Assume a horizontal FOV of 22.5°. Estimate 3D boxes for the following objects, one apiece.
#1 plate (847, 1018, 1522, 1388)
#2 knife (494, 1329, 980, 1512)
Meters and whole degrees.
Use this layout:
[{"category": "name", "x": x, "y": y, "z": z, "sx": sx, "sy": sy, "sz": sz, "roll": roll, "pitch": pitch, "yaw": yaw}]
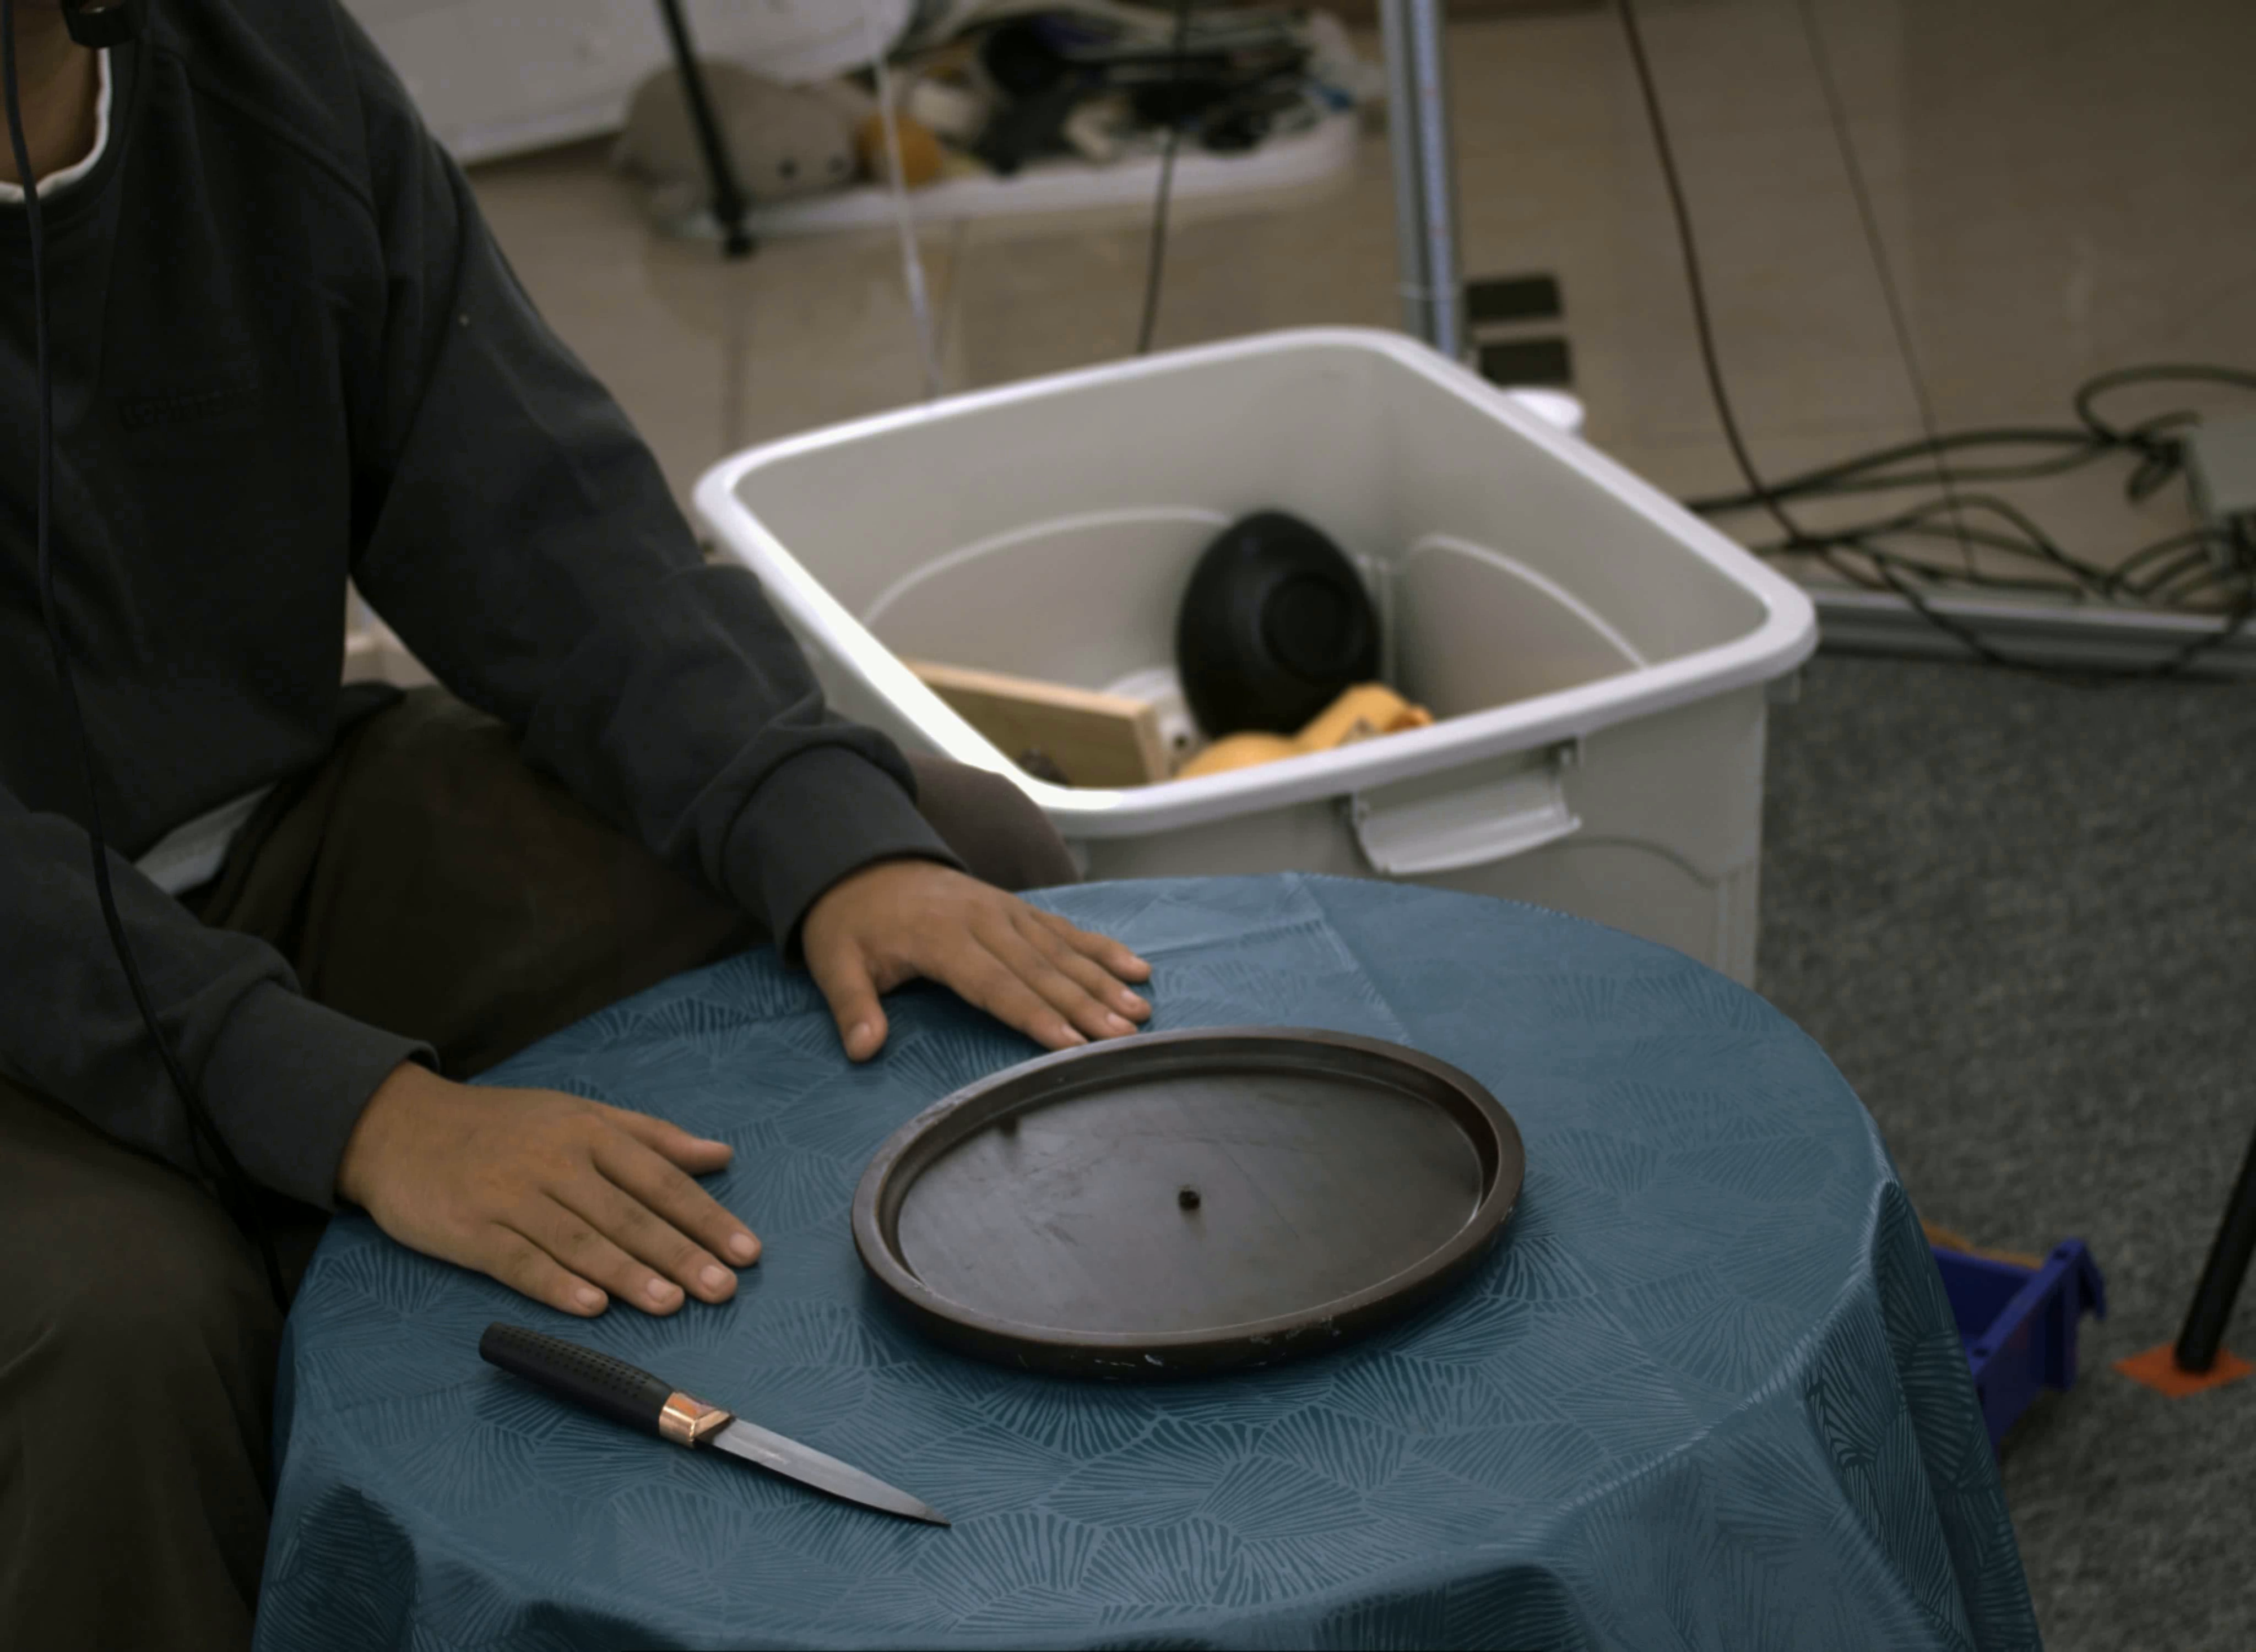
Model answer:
[{"category": "plate", "x": 0.022, "y": 0.139, "z": 2.115, "sx": 0.254, "sy": 0.029, "sz": 0.251, "roll": -7, "pitch": 25, "yaw": 3}, {"category": "knife", "x": -0.141, "y": 0.212, "z": 2.010, "sx": 0.224, "sy": 0.017, "sz": 0.026, "roll": 15, "pitch": 28, "yaw": 37}]
